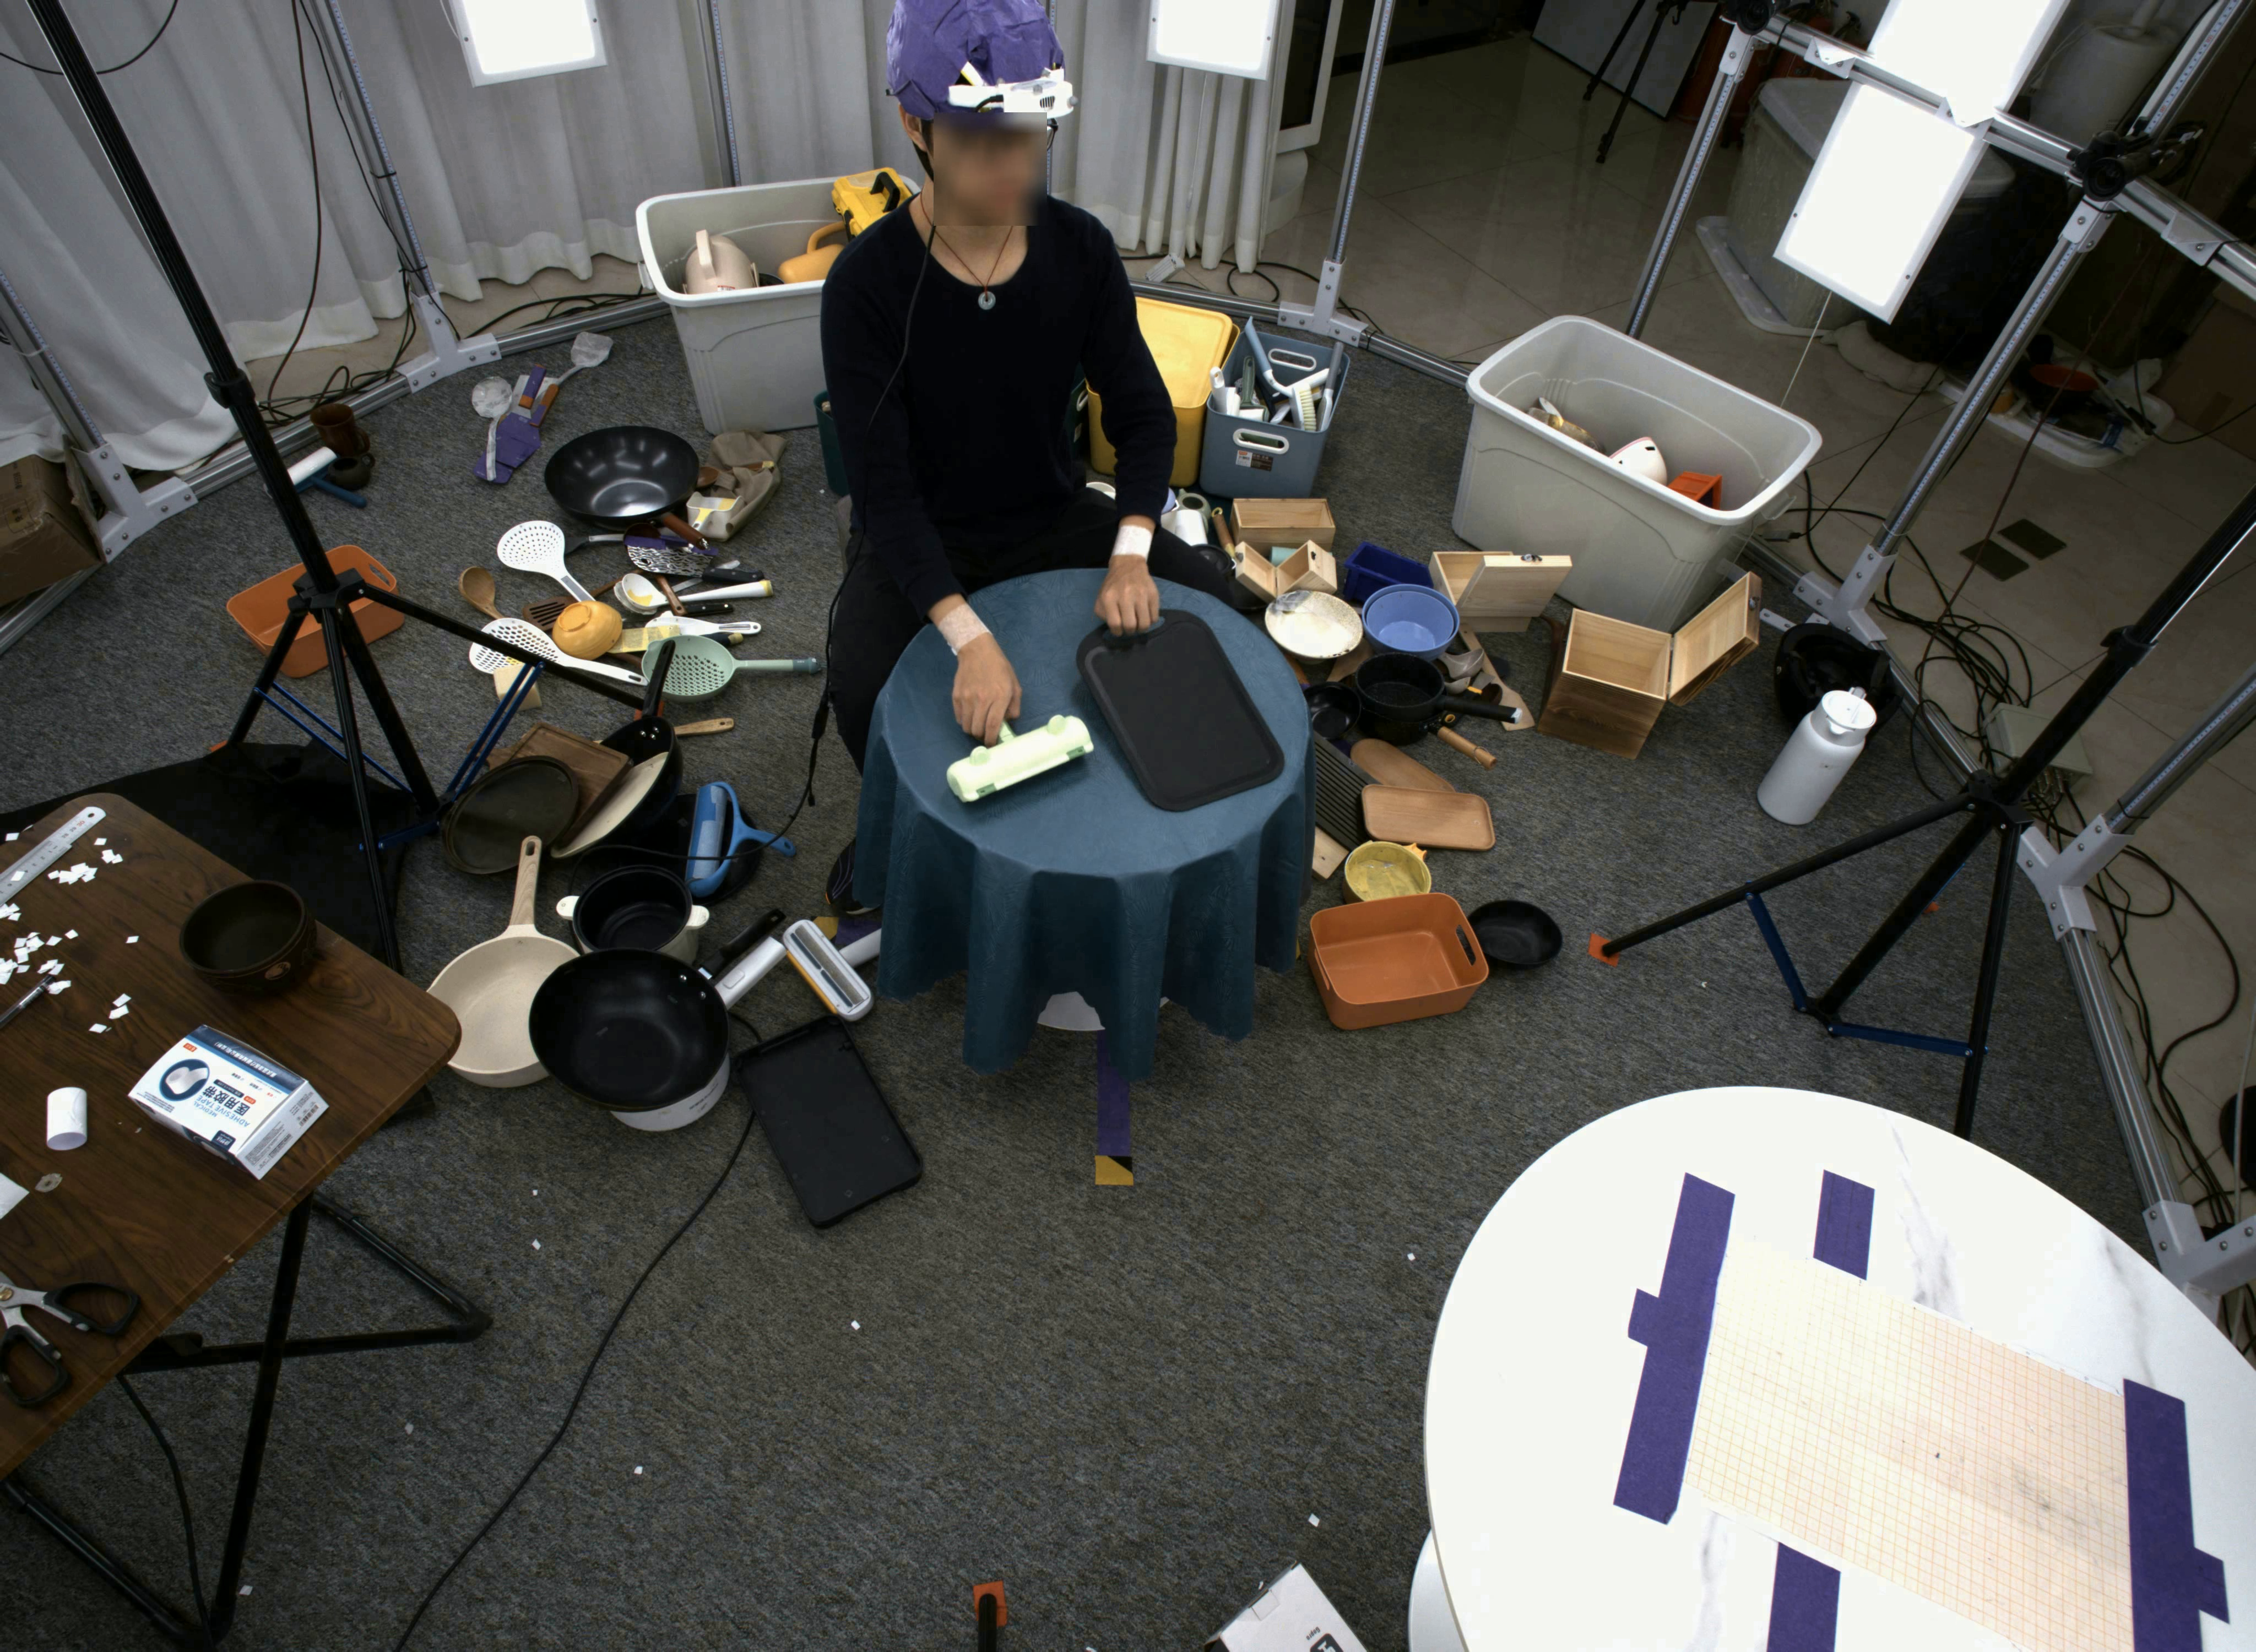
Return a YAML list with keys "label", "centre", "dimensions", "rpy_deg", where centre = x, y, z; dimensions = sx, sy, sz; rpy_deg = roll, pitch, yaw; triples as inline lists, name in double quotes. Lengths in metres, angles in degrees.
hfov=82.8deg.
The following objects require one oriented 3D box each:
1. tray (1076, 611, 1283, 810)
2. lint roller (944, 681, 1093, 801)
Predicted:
- label: "tray"
  centre: [0.065, -0.172, 1.782]
  dimensions: [0.211, 0.009, 0.332]
  rpy_deg: [-18, 62, -19]
- label: "lint roller"
  centre: [-0.171, -0.138, 1.715]
  dimensions: [0.199, 0.080, 0.186]
  rpy_deg: [-23, 67, -22]
